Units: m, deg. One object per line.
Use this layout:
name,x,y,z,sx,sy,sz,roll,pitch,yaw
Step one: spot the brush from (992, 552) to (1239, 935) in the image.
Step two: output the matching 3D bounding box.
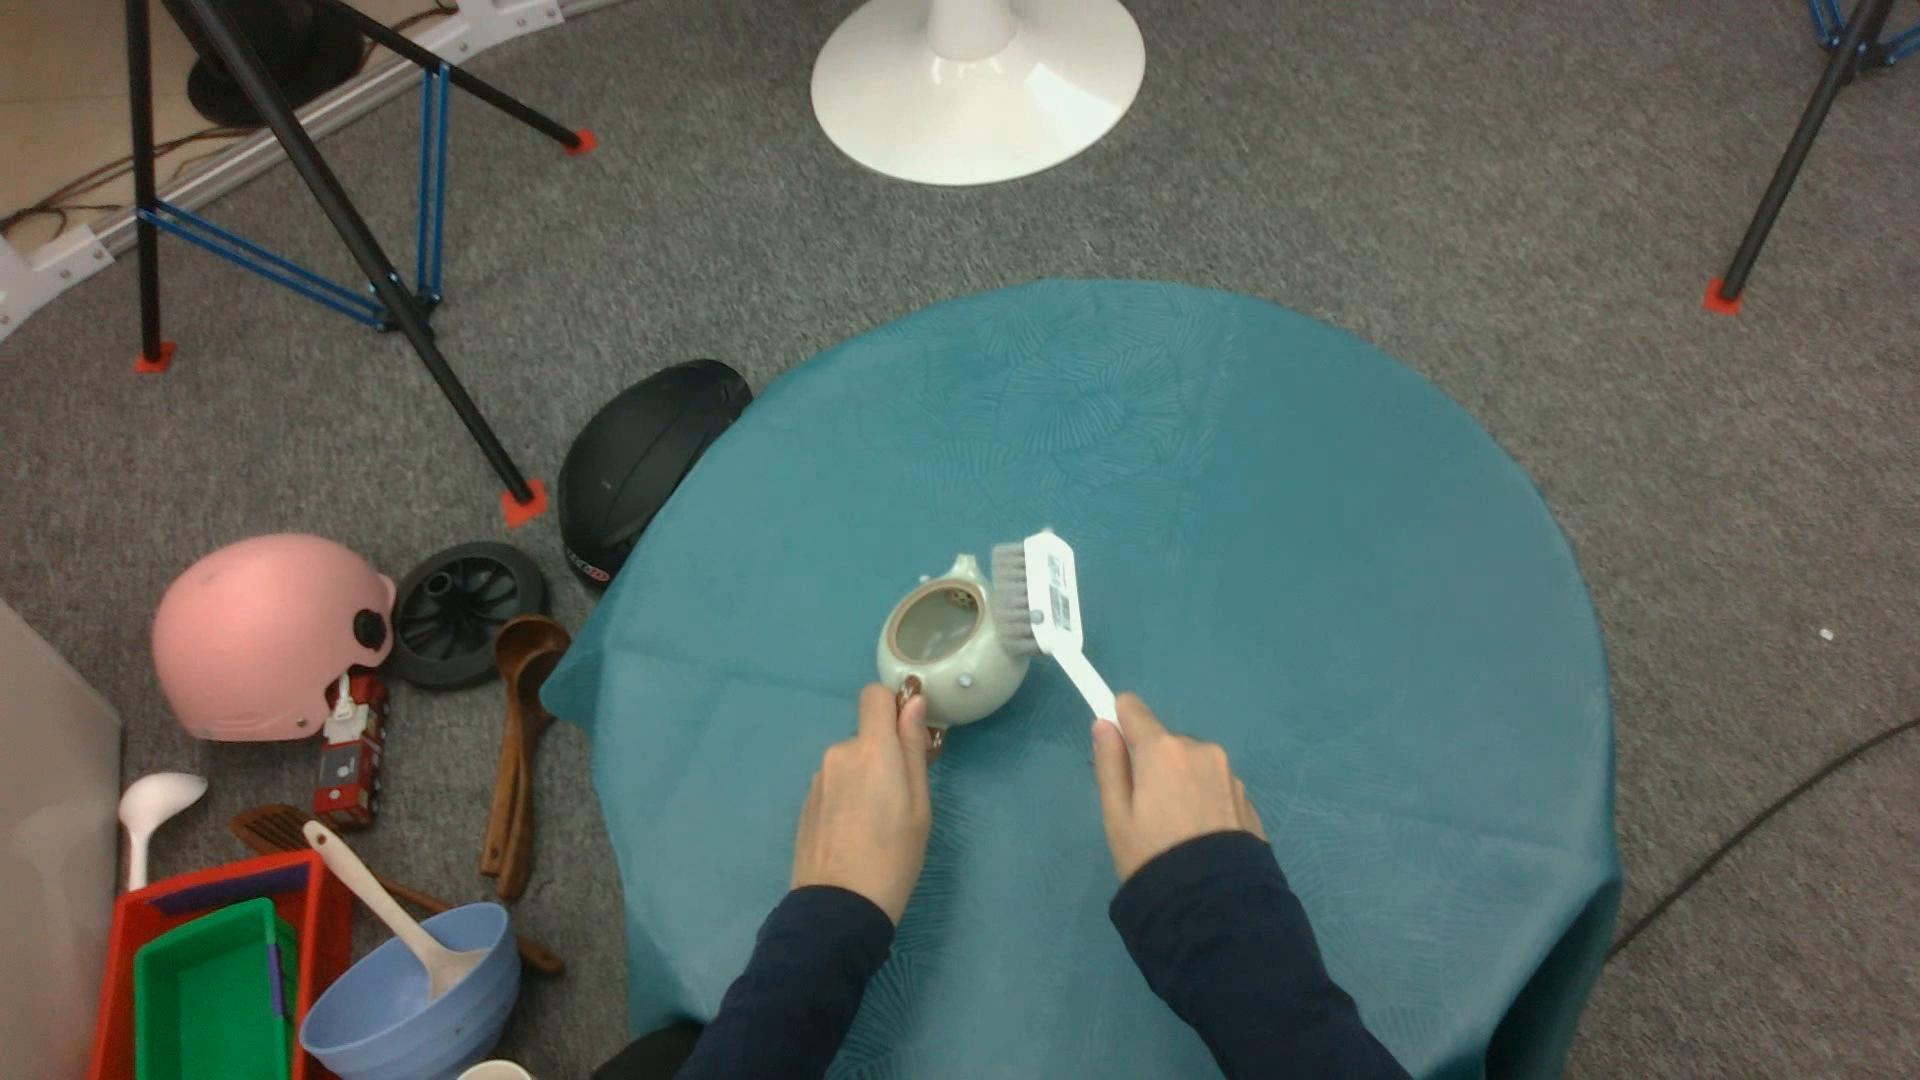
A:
brush,0.073,0.105,0.726,0.050,0.034,0.244,-39,53,21

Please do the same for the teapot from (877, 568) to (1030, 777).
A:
teapot,-0.007,0.079,0.803,0.091,0.059,0.128,0,48,28
